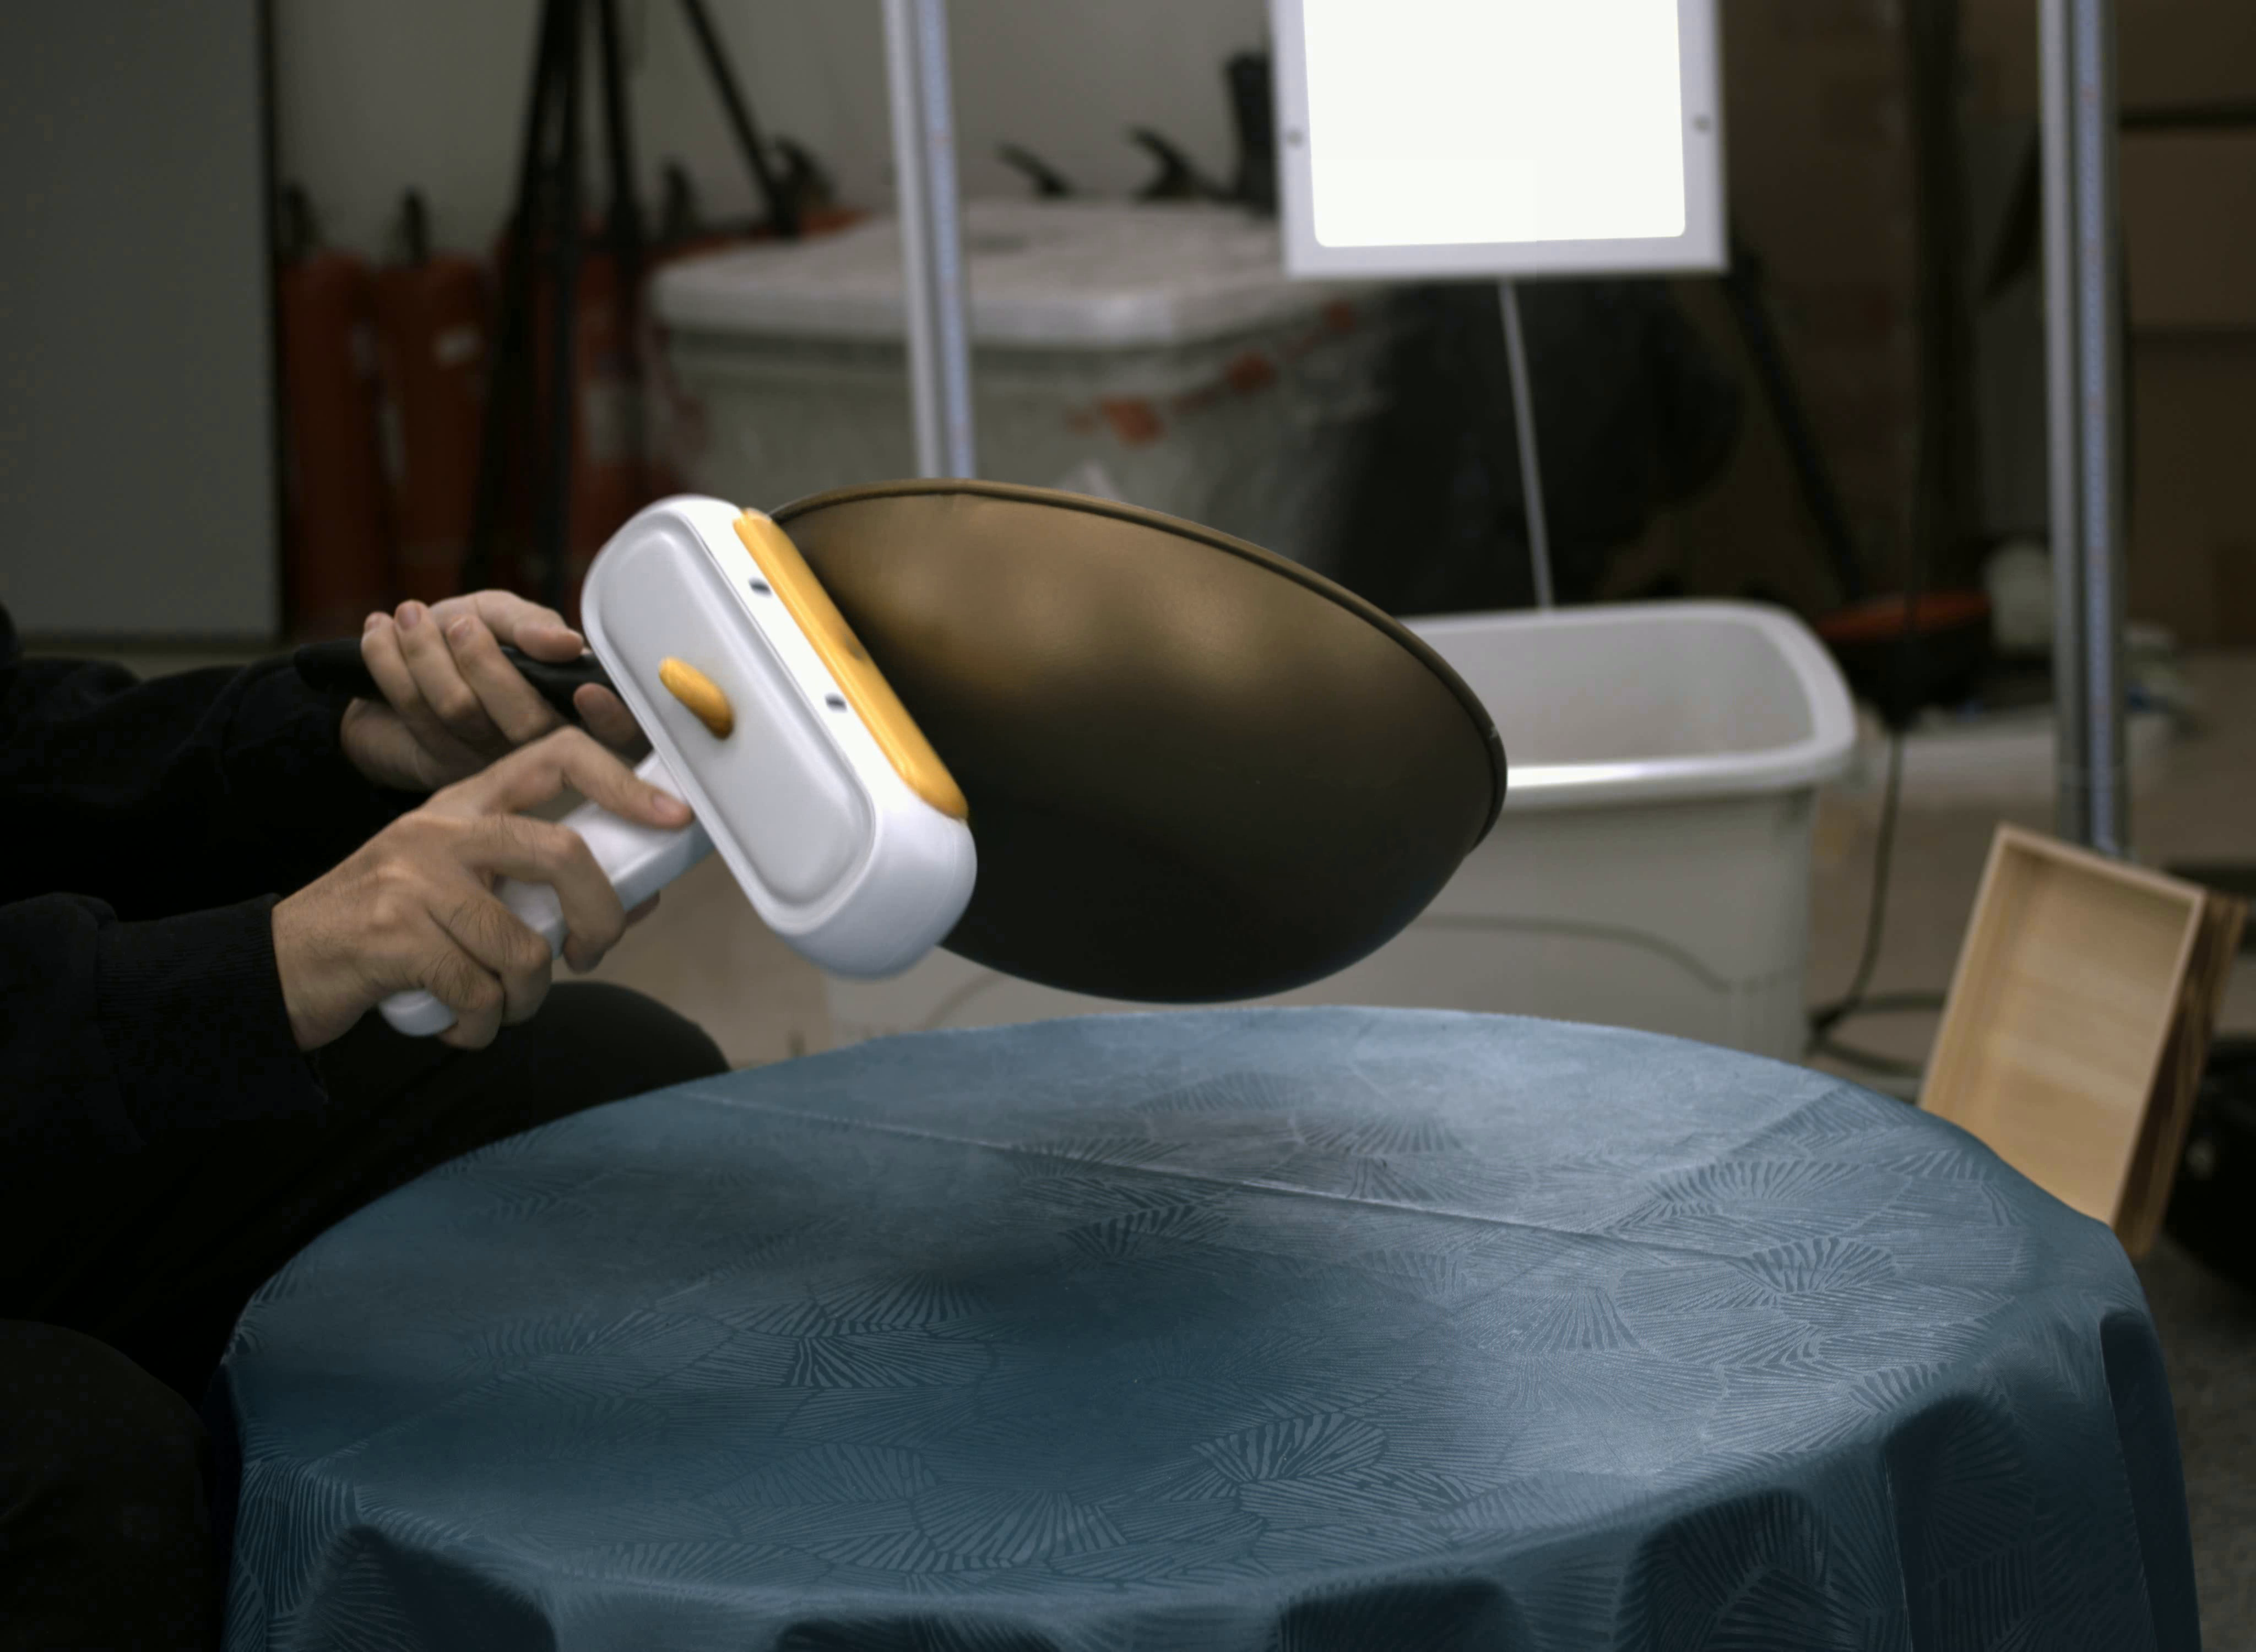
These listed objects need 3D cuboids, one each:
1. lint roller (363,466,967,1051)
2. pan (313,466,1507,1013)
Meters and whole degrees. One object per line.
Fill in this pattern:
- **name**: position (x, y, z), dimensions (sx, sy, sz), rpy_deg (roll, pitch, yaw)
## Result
- **lint roller**: position (-0.163, -0.001, 1.767), dimensions (0.195, 0.194, 0.073), rpy_deg (49, 11, 33)
- **pan**: position (-0.098, -0.016, 1.895), dimensions (0.471, 0.086, 0.285), rpy_deg (3, -29, 27)
